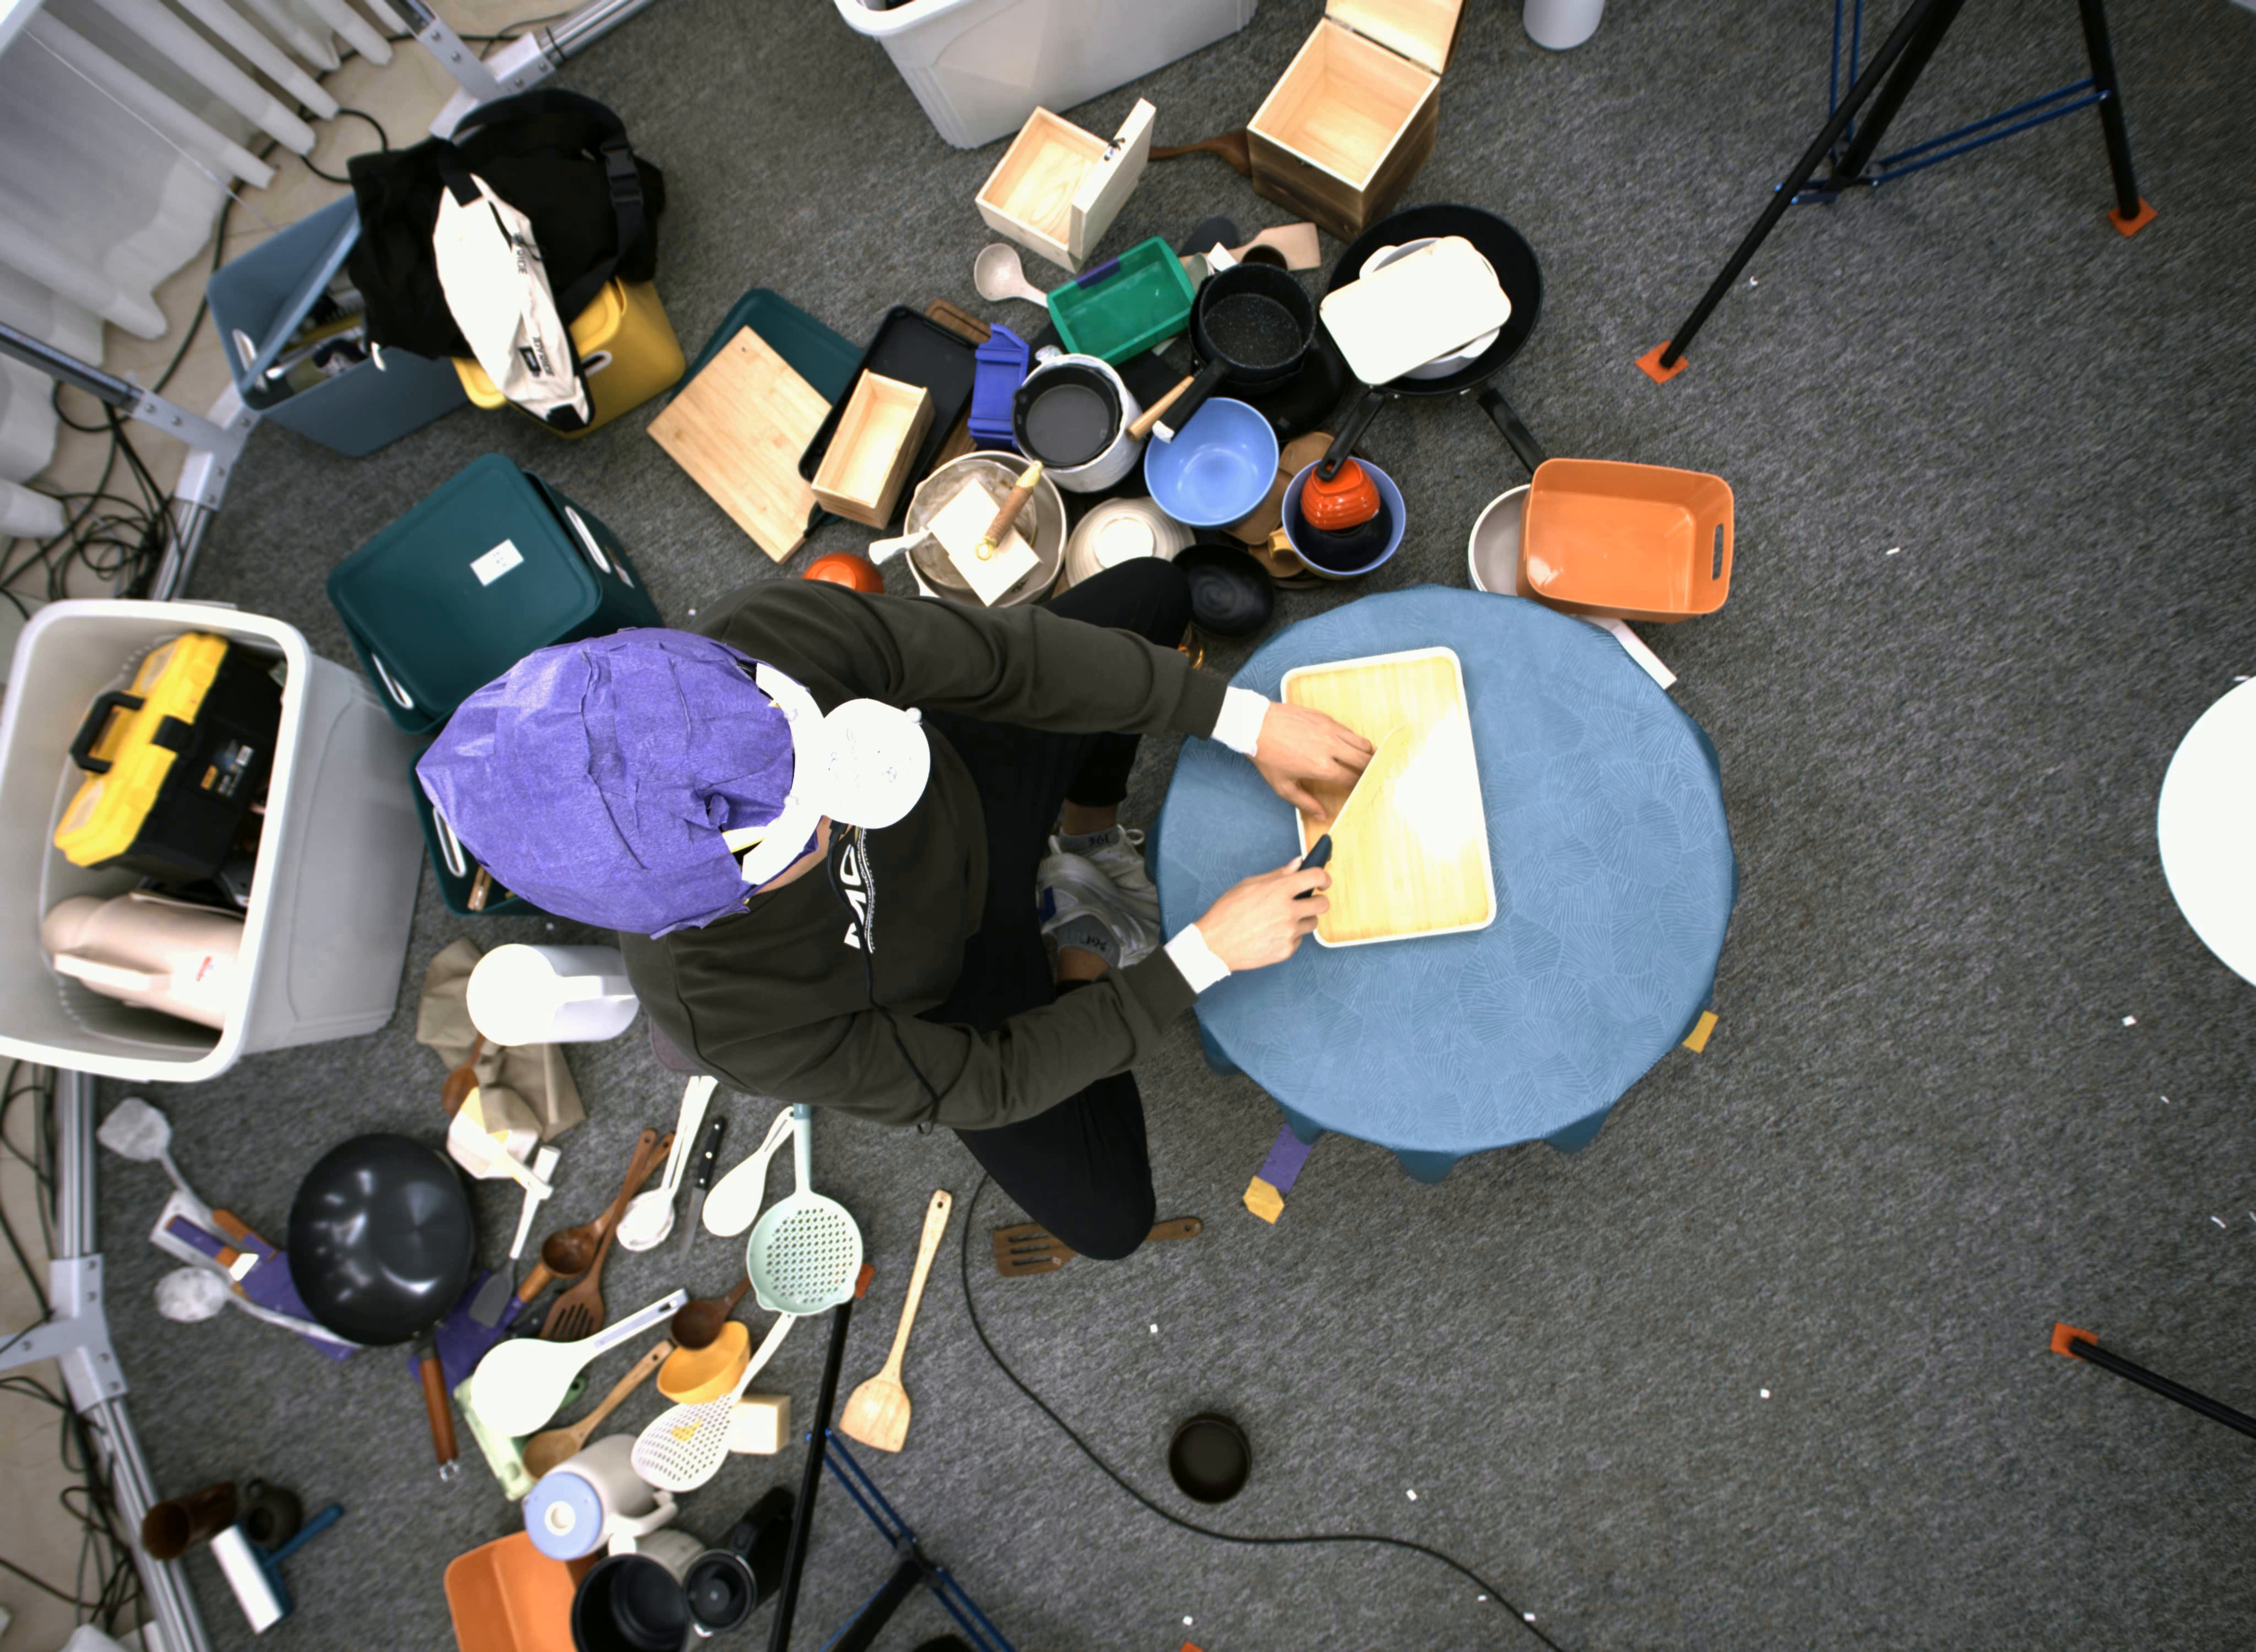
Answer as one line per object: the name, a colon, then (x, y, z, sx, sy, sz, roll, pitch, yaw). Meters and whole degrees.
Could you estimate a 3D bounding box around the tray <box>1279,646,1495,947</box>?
tray: (0.271, -0.032, 1.452, 0.192, 0.027, 0.298, -8, 85, 11)

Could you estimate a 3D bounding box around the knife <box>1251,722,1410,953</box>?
knife: (0.213, 0.009, 1.418, 0.027, 0.082, 0.288, 32, 85, 26)
